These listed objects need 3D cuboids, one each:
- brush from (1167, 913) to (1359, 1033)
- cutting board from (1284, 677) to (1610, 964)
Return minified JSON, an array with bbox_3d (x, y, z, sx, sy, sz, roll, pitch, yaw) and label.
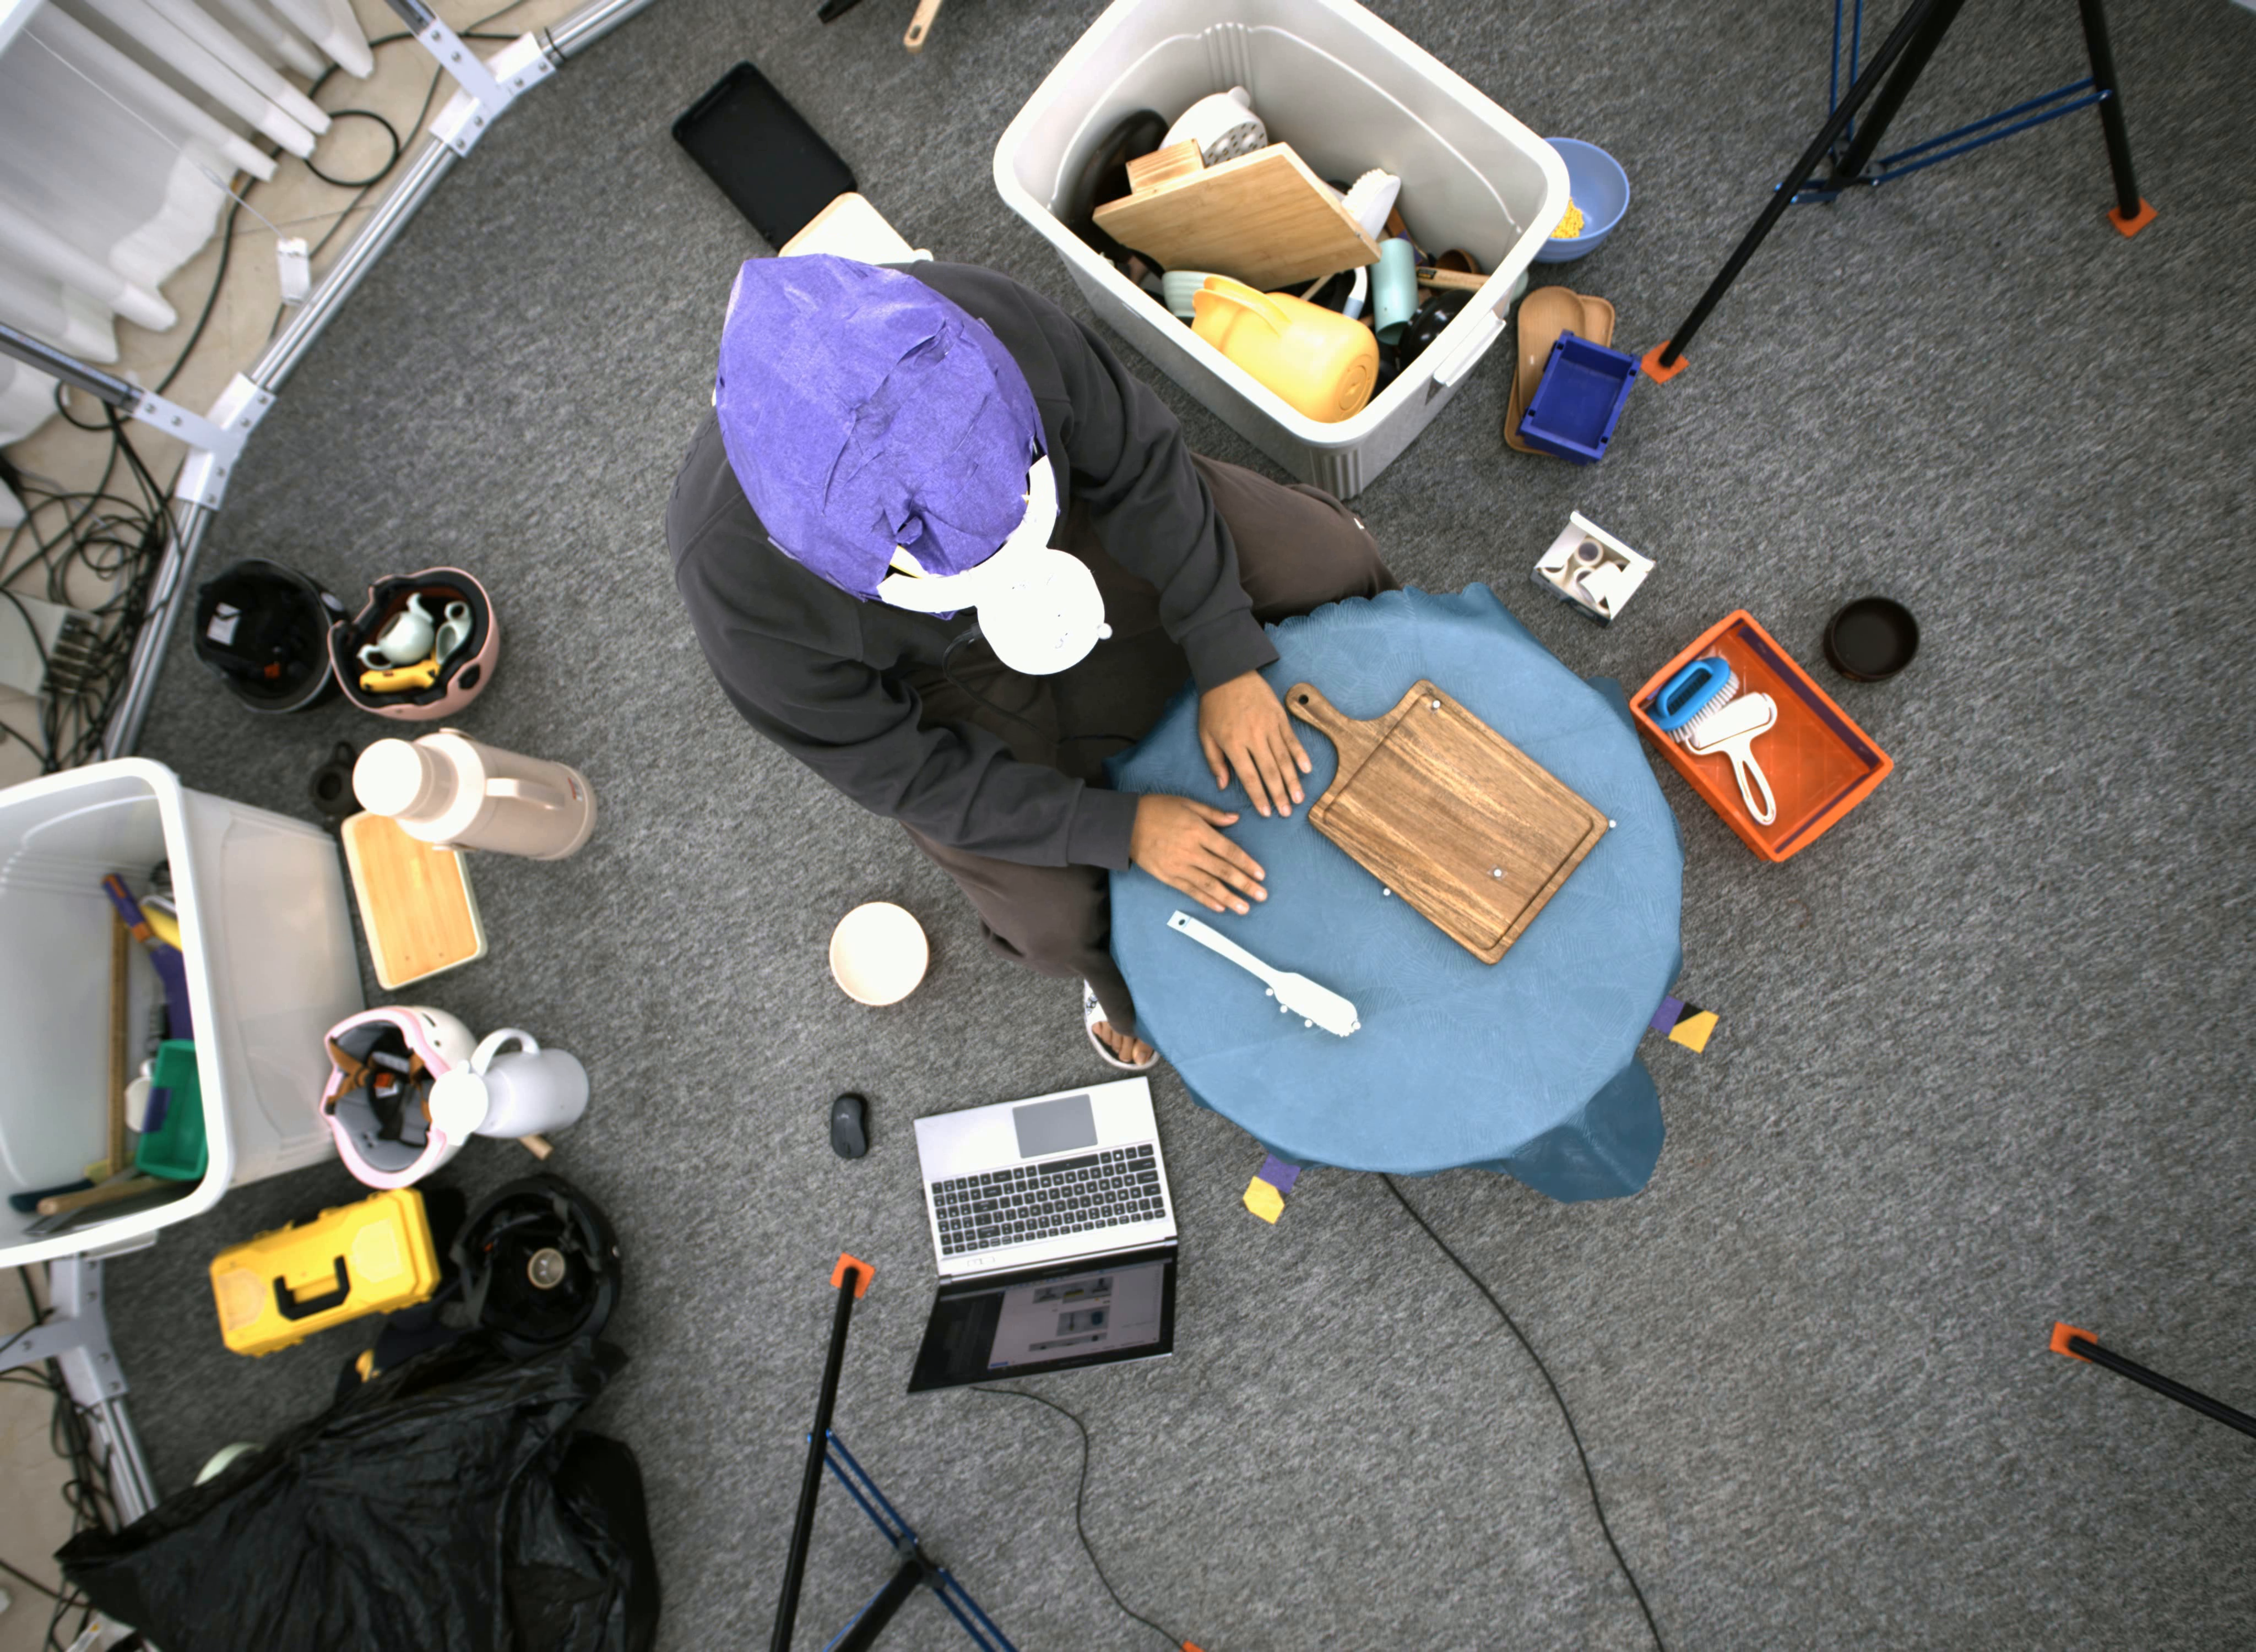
[{"bbox_3d":[0.140,0.154,1.465,0.228,0.050,0.037,28,78,19],"label":"brush"},{"bbox_3d":[0.308,-0.041,1.450,0.351,0.023,0.201,40,94,11],"label":"cutting board"}]
